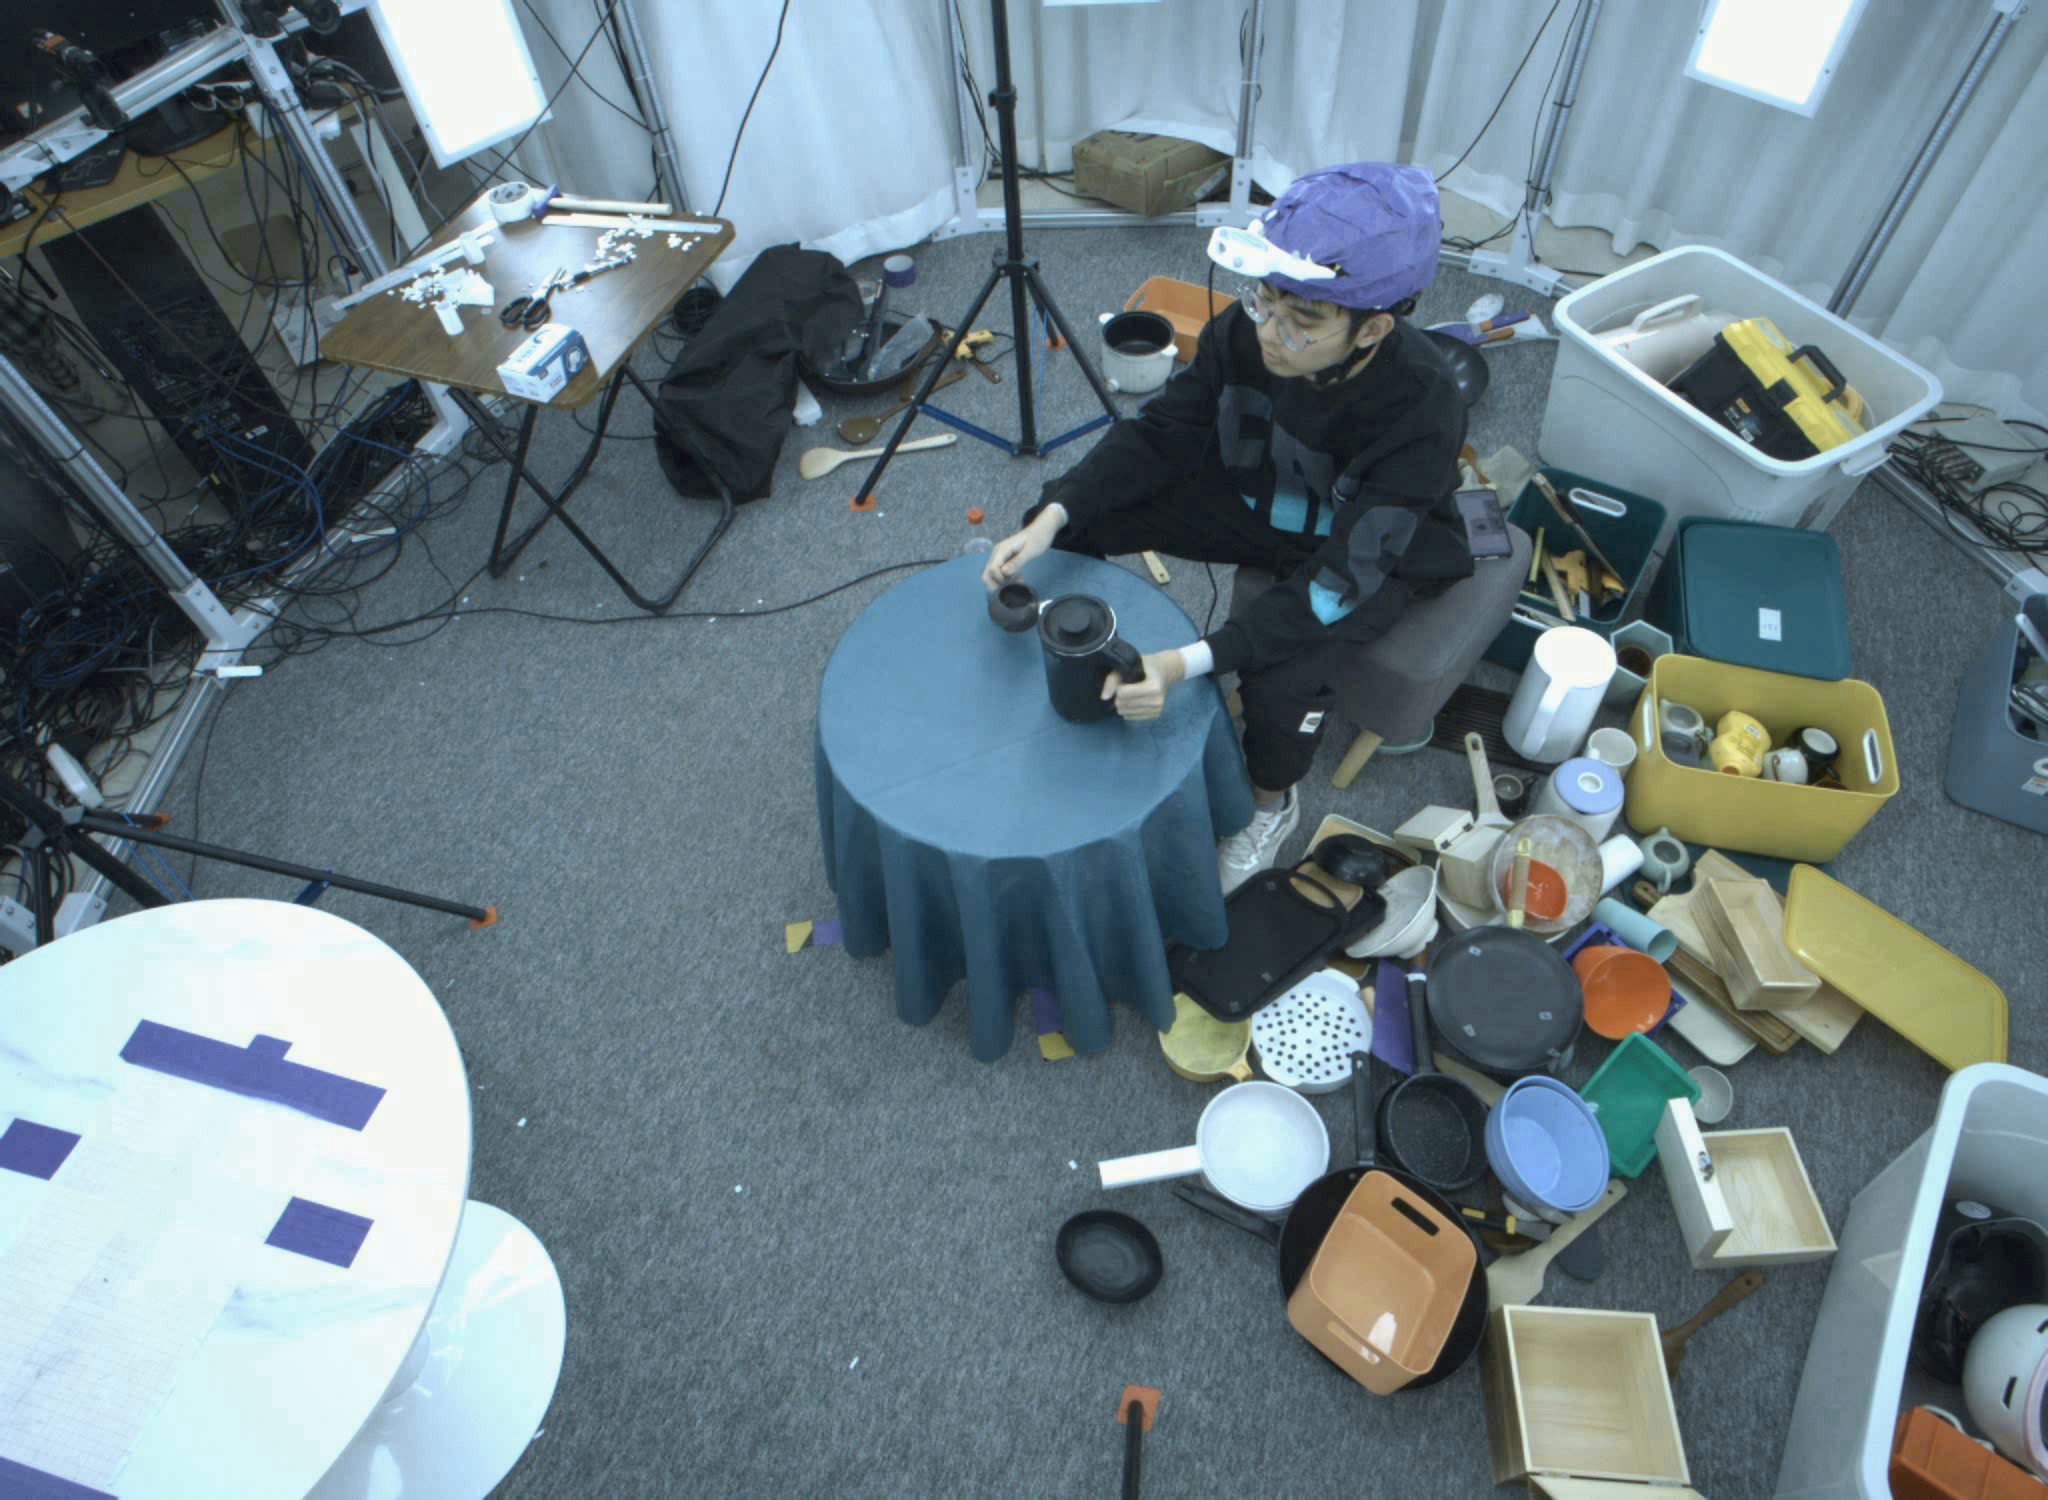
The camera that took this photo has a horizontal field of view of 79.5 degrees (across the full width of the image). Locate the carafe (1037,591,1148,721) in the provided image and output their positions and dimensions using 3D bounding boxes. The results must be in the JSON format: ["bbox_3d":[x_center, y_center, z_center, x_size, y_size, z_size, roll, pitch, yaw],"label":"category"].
[{"bbox_3d":[0.098,-0.124,1.743,0.168,0.176,0.115,31,65,26],"label":"carafe"}]

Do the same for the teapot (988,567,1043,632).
[{"bbox_3d":[-0.016,-0.228,1.845,0.083,0.053,0.112,-10,64,-11],"label":"teapot"}]
